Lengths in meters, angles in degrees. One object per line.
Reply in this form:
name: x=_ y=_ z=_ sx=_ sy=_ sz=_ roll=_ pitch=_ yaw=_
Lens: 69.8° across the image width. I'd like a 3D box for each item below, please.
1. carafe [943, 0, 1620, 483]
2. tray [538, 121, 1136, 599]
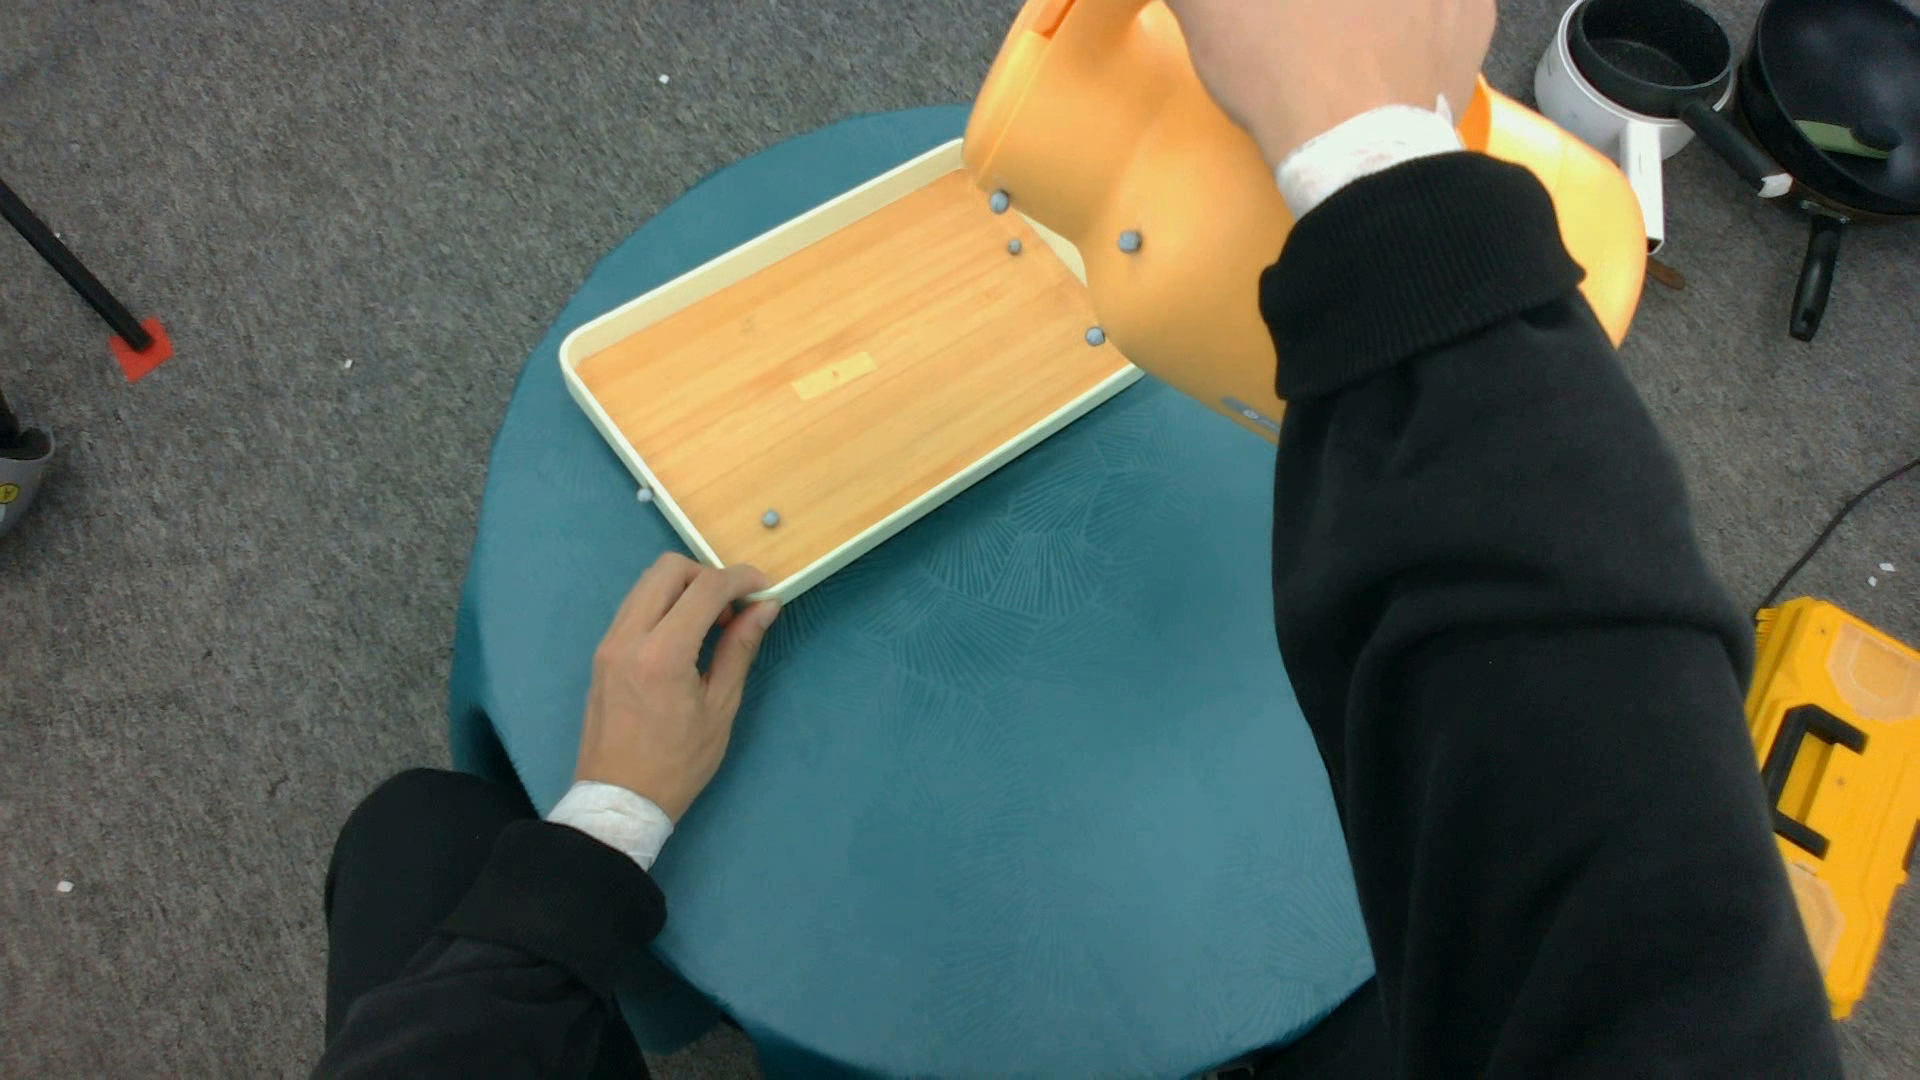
carafe: x=0.126 y=-0.142 z=0.550 sx=0.260 sy=0.202 sz=0.164 roll=25 pitch=79 yaw=-7
tray: x=-0.061 y=-0.113 z=0.779 sx=0.301 sy=0.027 sz=0.192 roll=-34 pitch=73 yaw=-23
